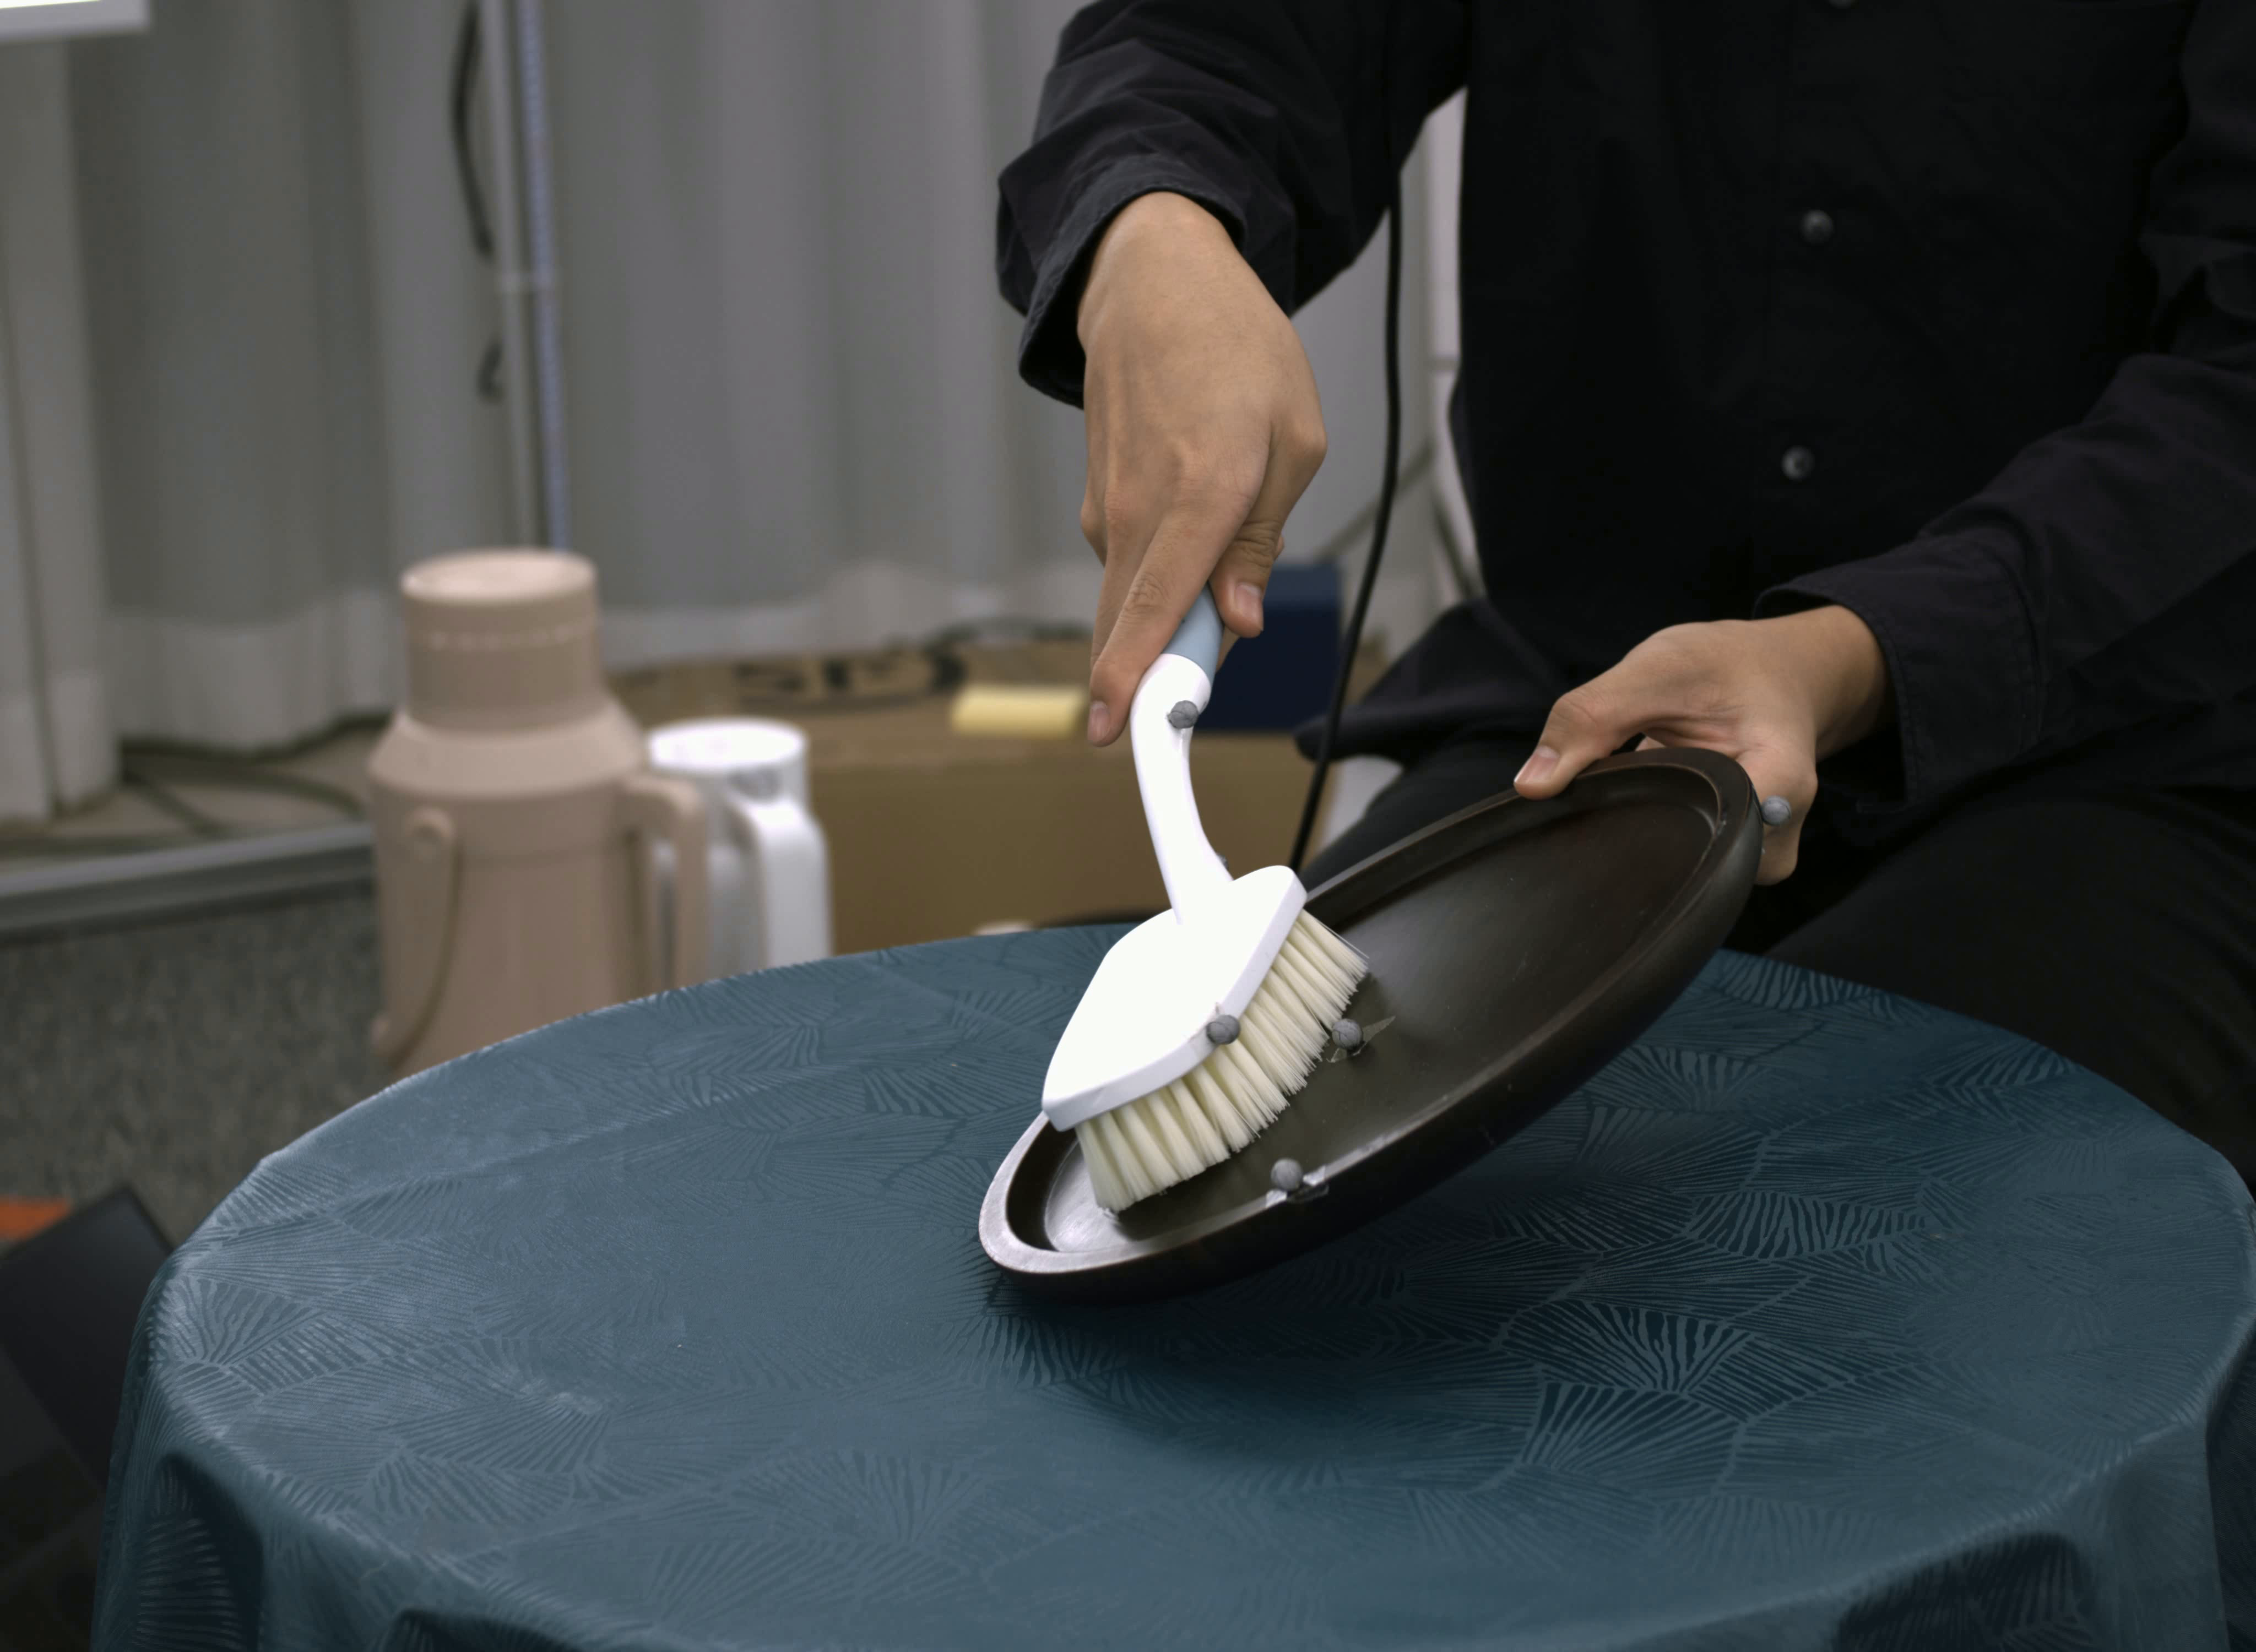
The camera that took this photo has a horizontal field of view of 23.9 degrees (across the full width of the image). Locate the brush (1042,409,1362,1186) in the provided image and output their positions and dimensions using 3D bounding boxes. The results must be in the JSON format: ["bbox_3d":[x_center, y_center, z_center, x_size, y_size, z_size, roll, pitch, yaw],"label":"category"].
[{"bbox_3d":[0.036,-0.005,1.587,0.083,0.084,0.326,6,40,6],"label":"brush"}]

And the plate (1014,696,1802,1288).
[{"bbox_3d":[0.080,0.049,1.490,0.255,0.029,0.256,-33,13,6],"label":"plate"}]
